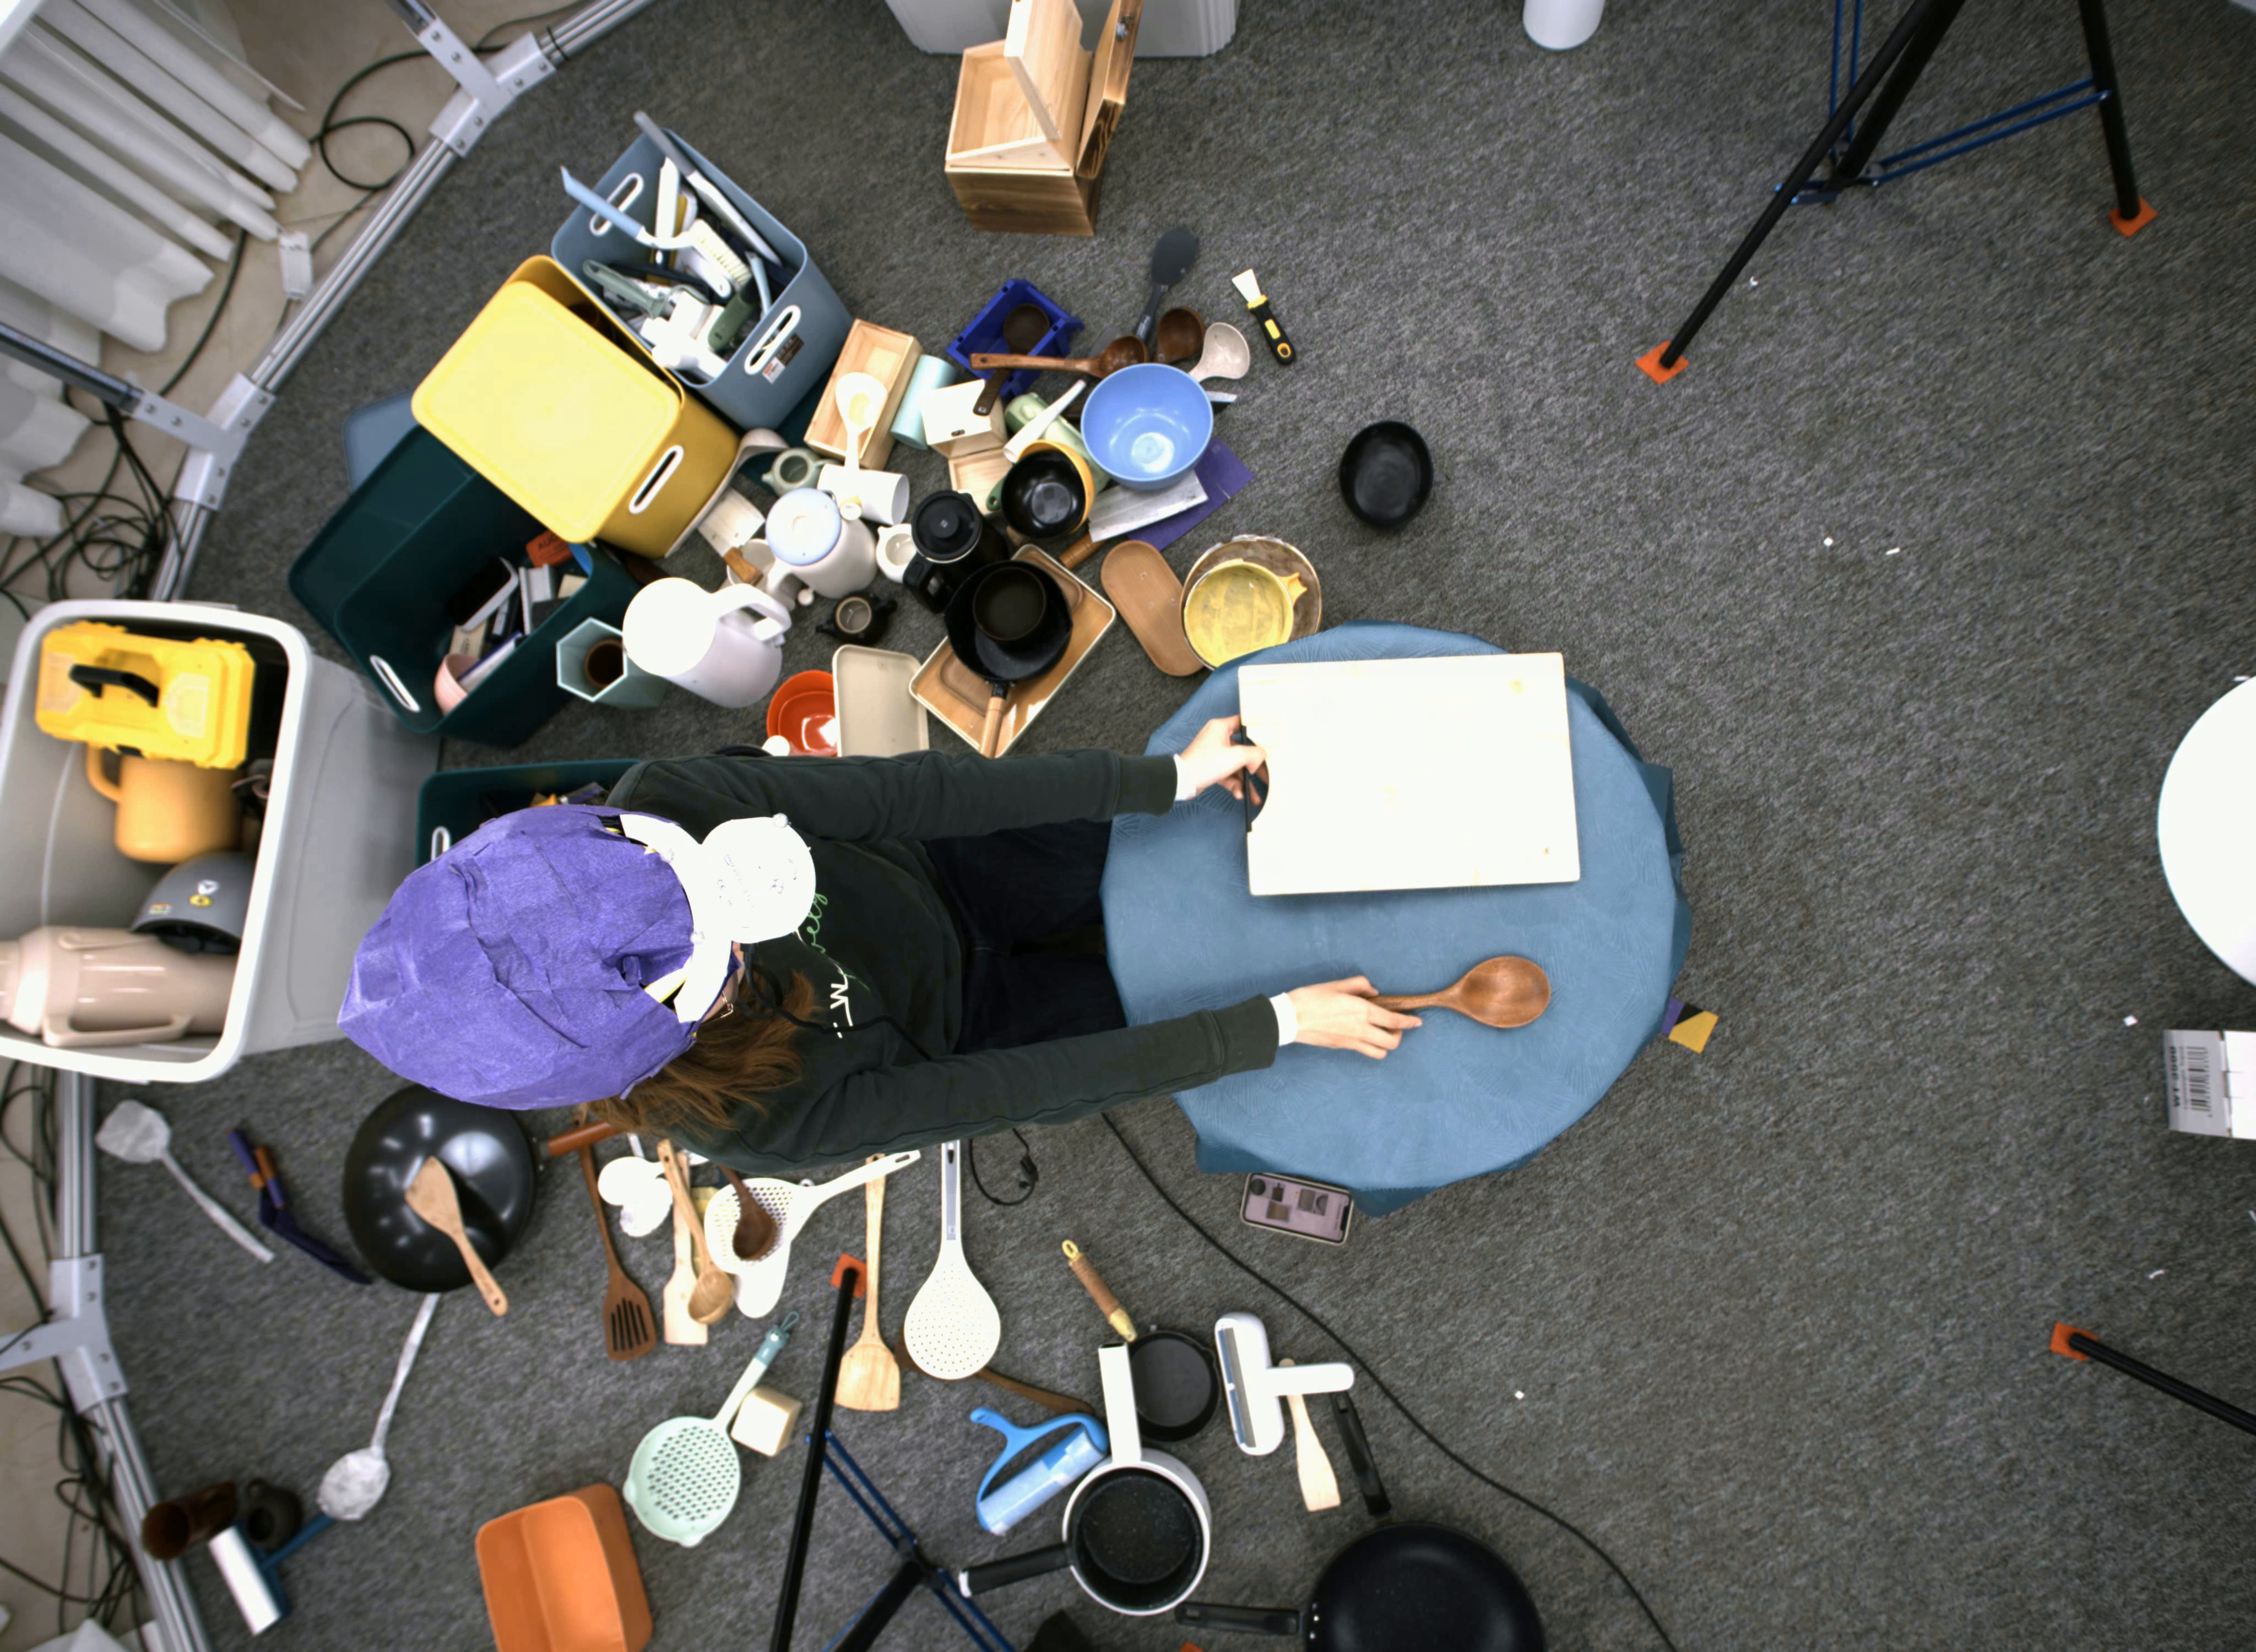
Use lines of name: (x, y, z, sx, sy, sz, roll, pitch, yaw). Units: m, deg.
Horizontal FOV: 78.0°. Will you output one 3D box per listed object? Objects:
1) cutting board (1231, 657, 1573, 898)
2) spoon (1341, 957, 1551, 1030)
cutting board: (0.287, -0.053, 1.436, 0.349, 0.023, 0.249, -4, 85, 2)
spoon: (0.330, 0.180, 1.435, 0.217, 0.017, 0.075, -8, 87, 7)
